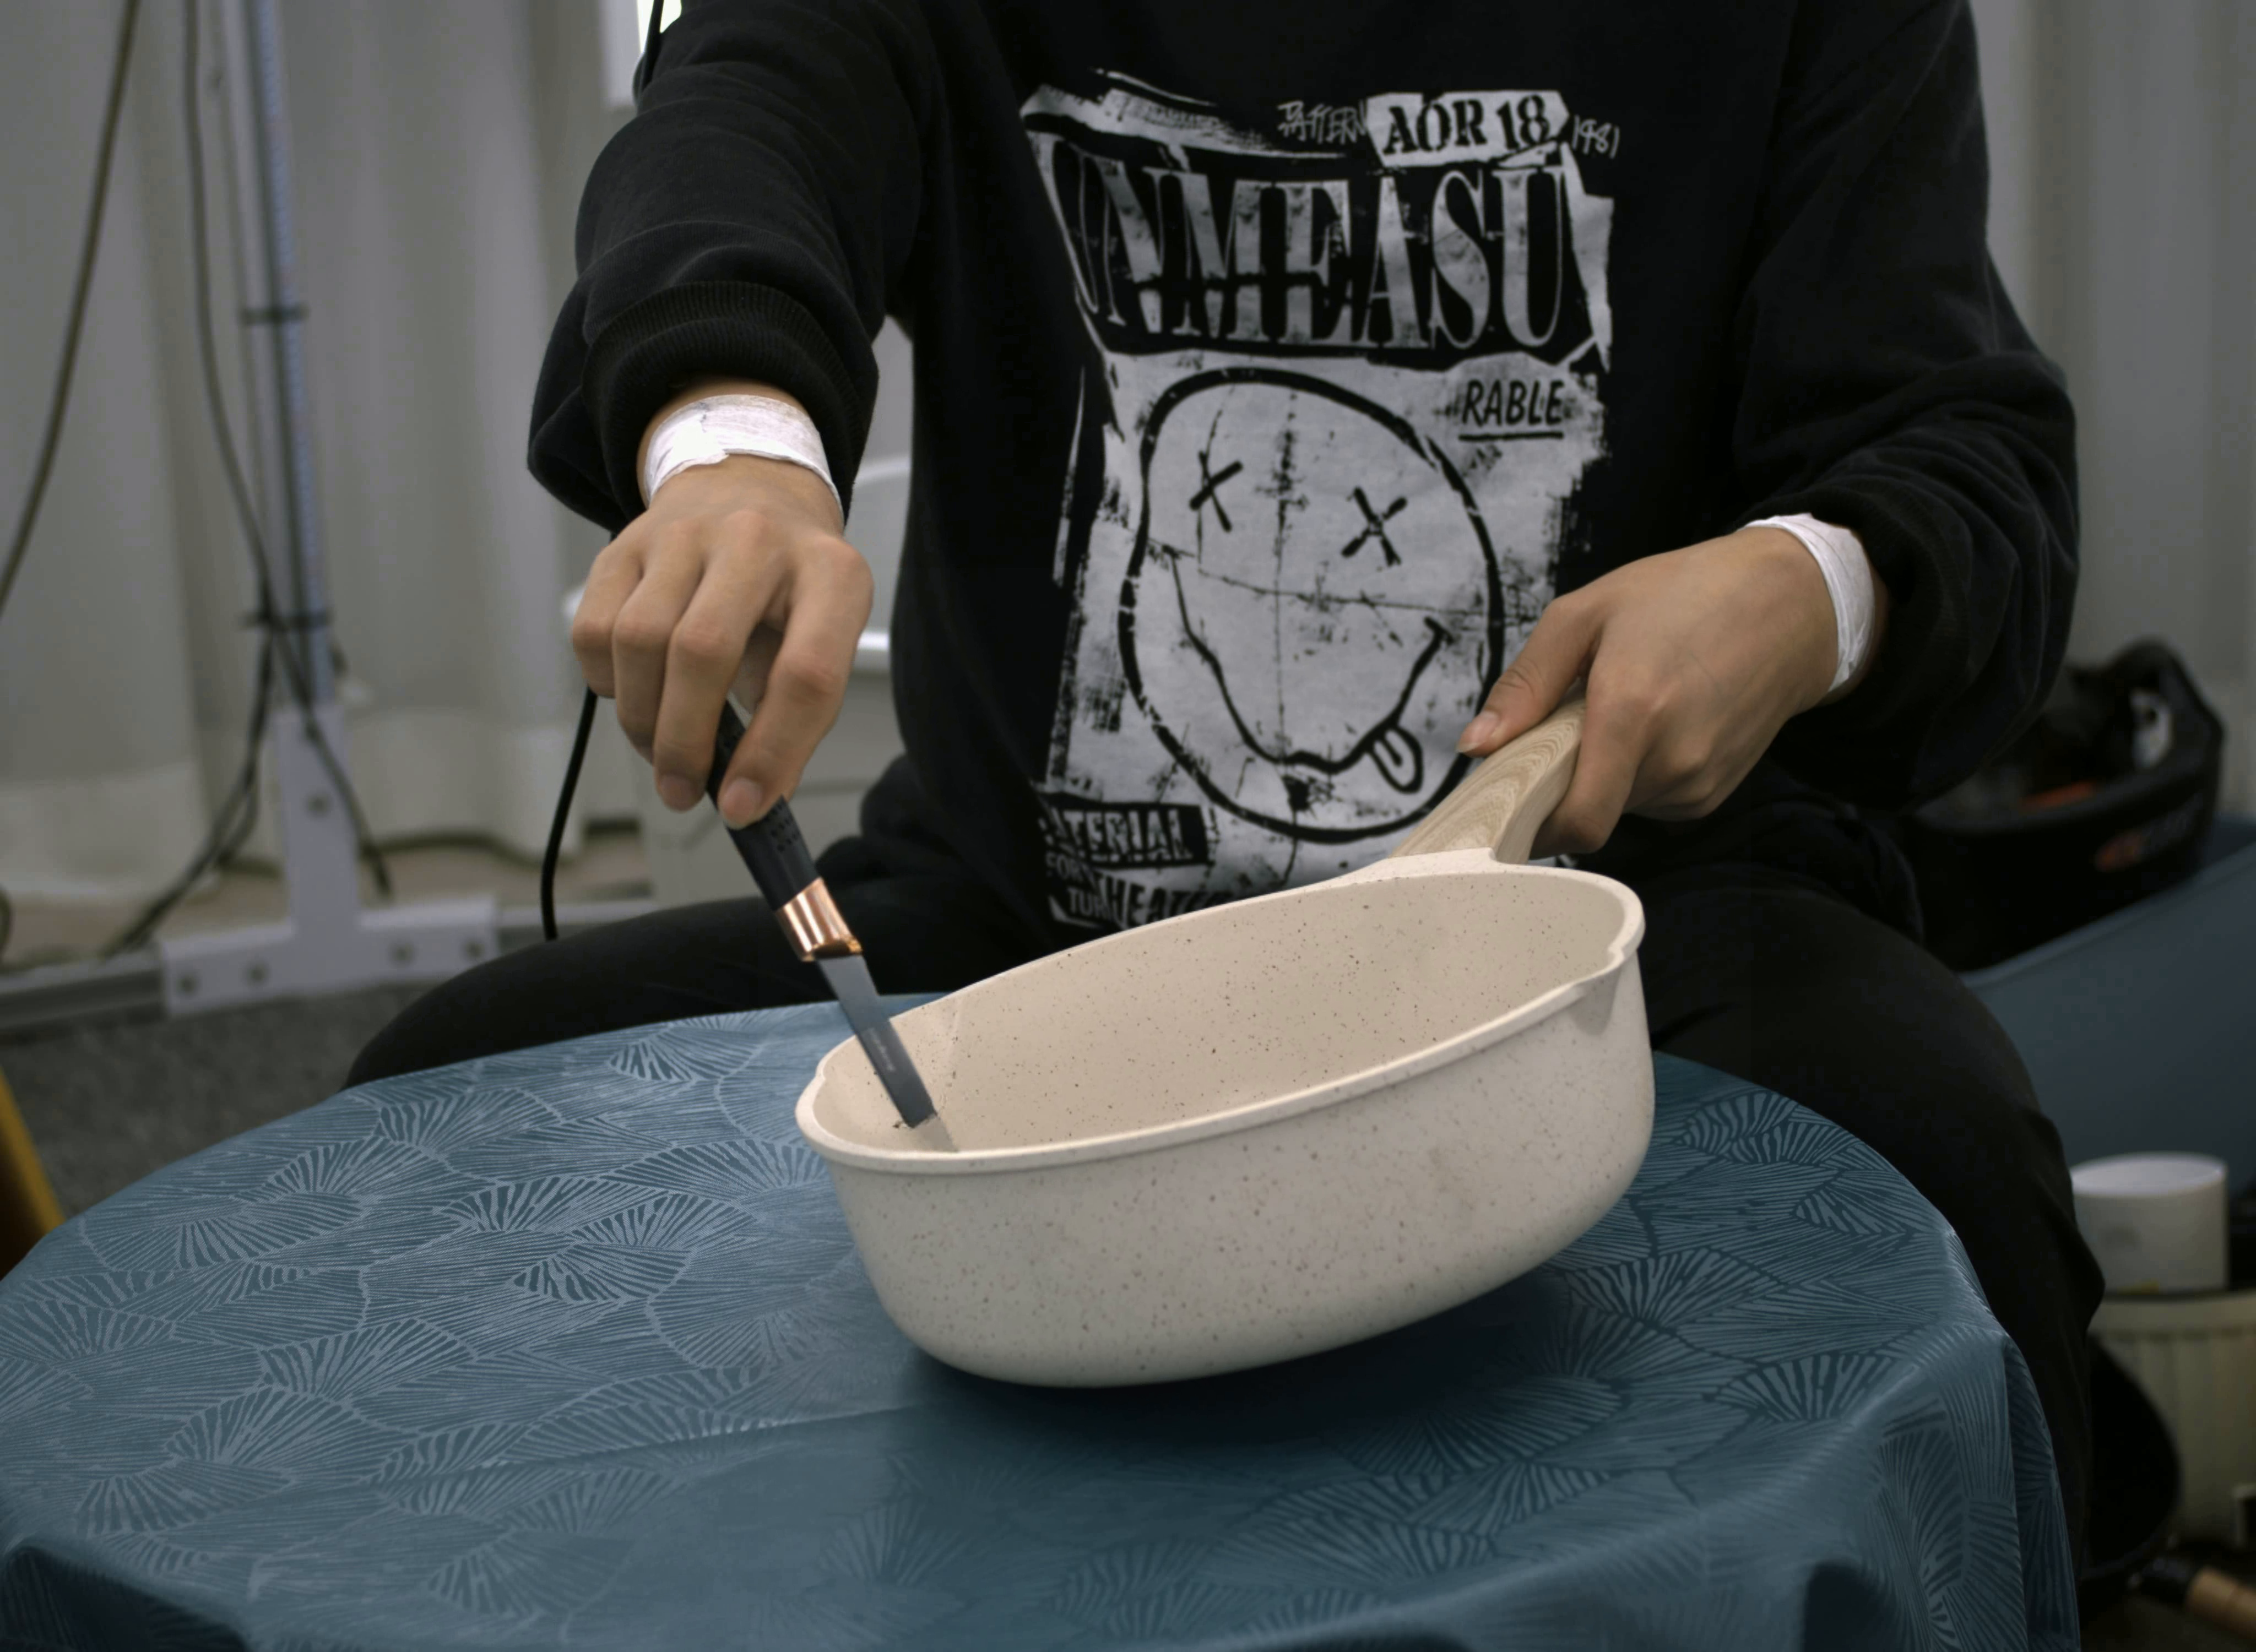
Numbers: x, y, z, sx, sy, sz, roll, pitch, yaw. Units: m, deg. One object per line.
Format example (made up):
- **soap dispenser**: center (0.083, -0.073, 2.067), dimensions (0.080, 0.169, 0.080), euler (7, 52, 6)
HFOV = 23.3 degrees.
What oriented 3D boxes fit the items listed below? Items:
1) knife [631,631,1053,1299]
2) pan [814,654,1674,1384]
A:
- **knife**: center (-0.079, 0.038, 1.527), dimensions (0.017, 0.228, 0.026), euler (-39, -20, 19)
- **pan**: center (0.082, 0.054, 1.652), dimensions (0.263, 0.102, 0.436), euler (-9, 12, 32)
